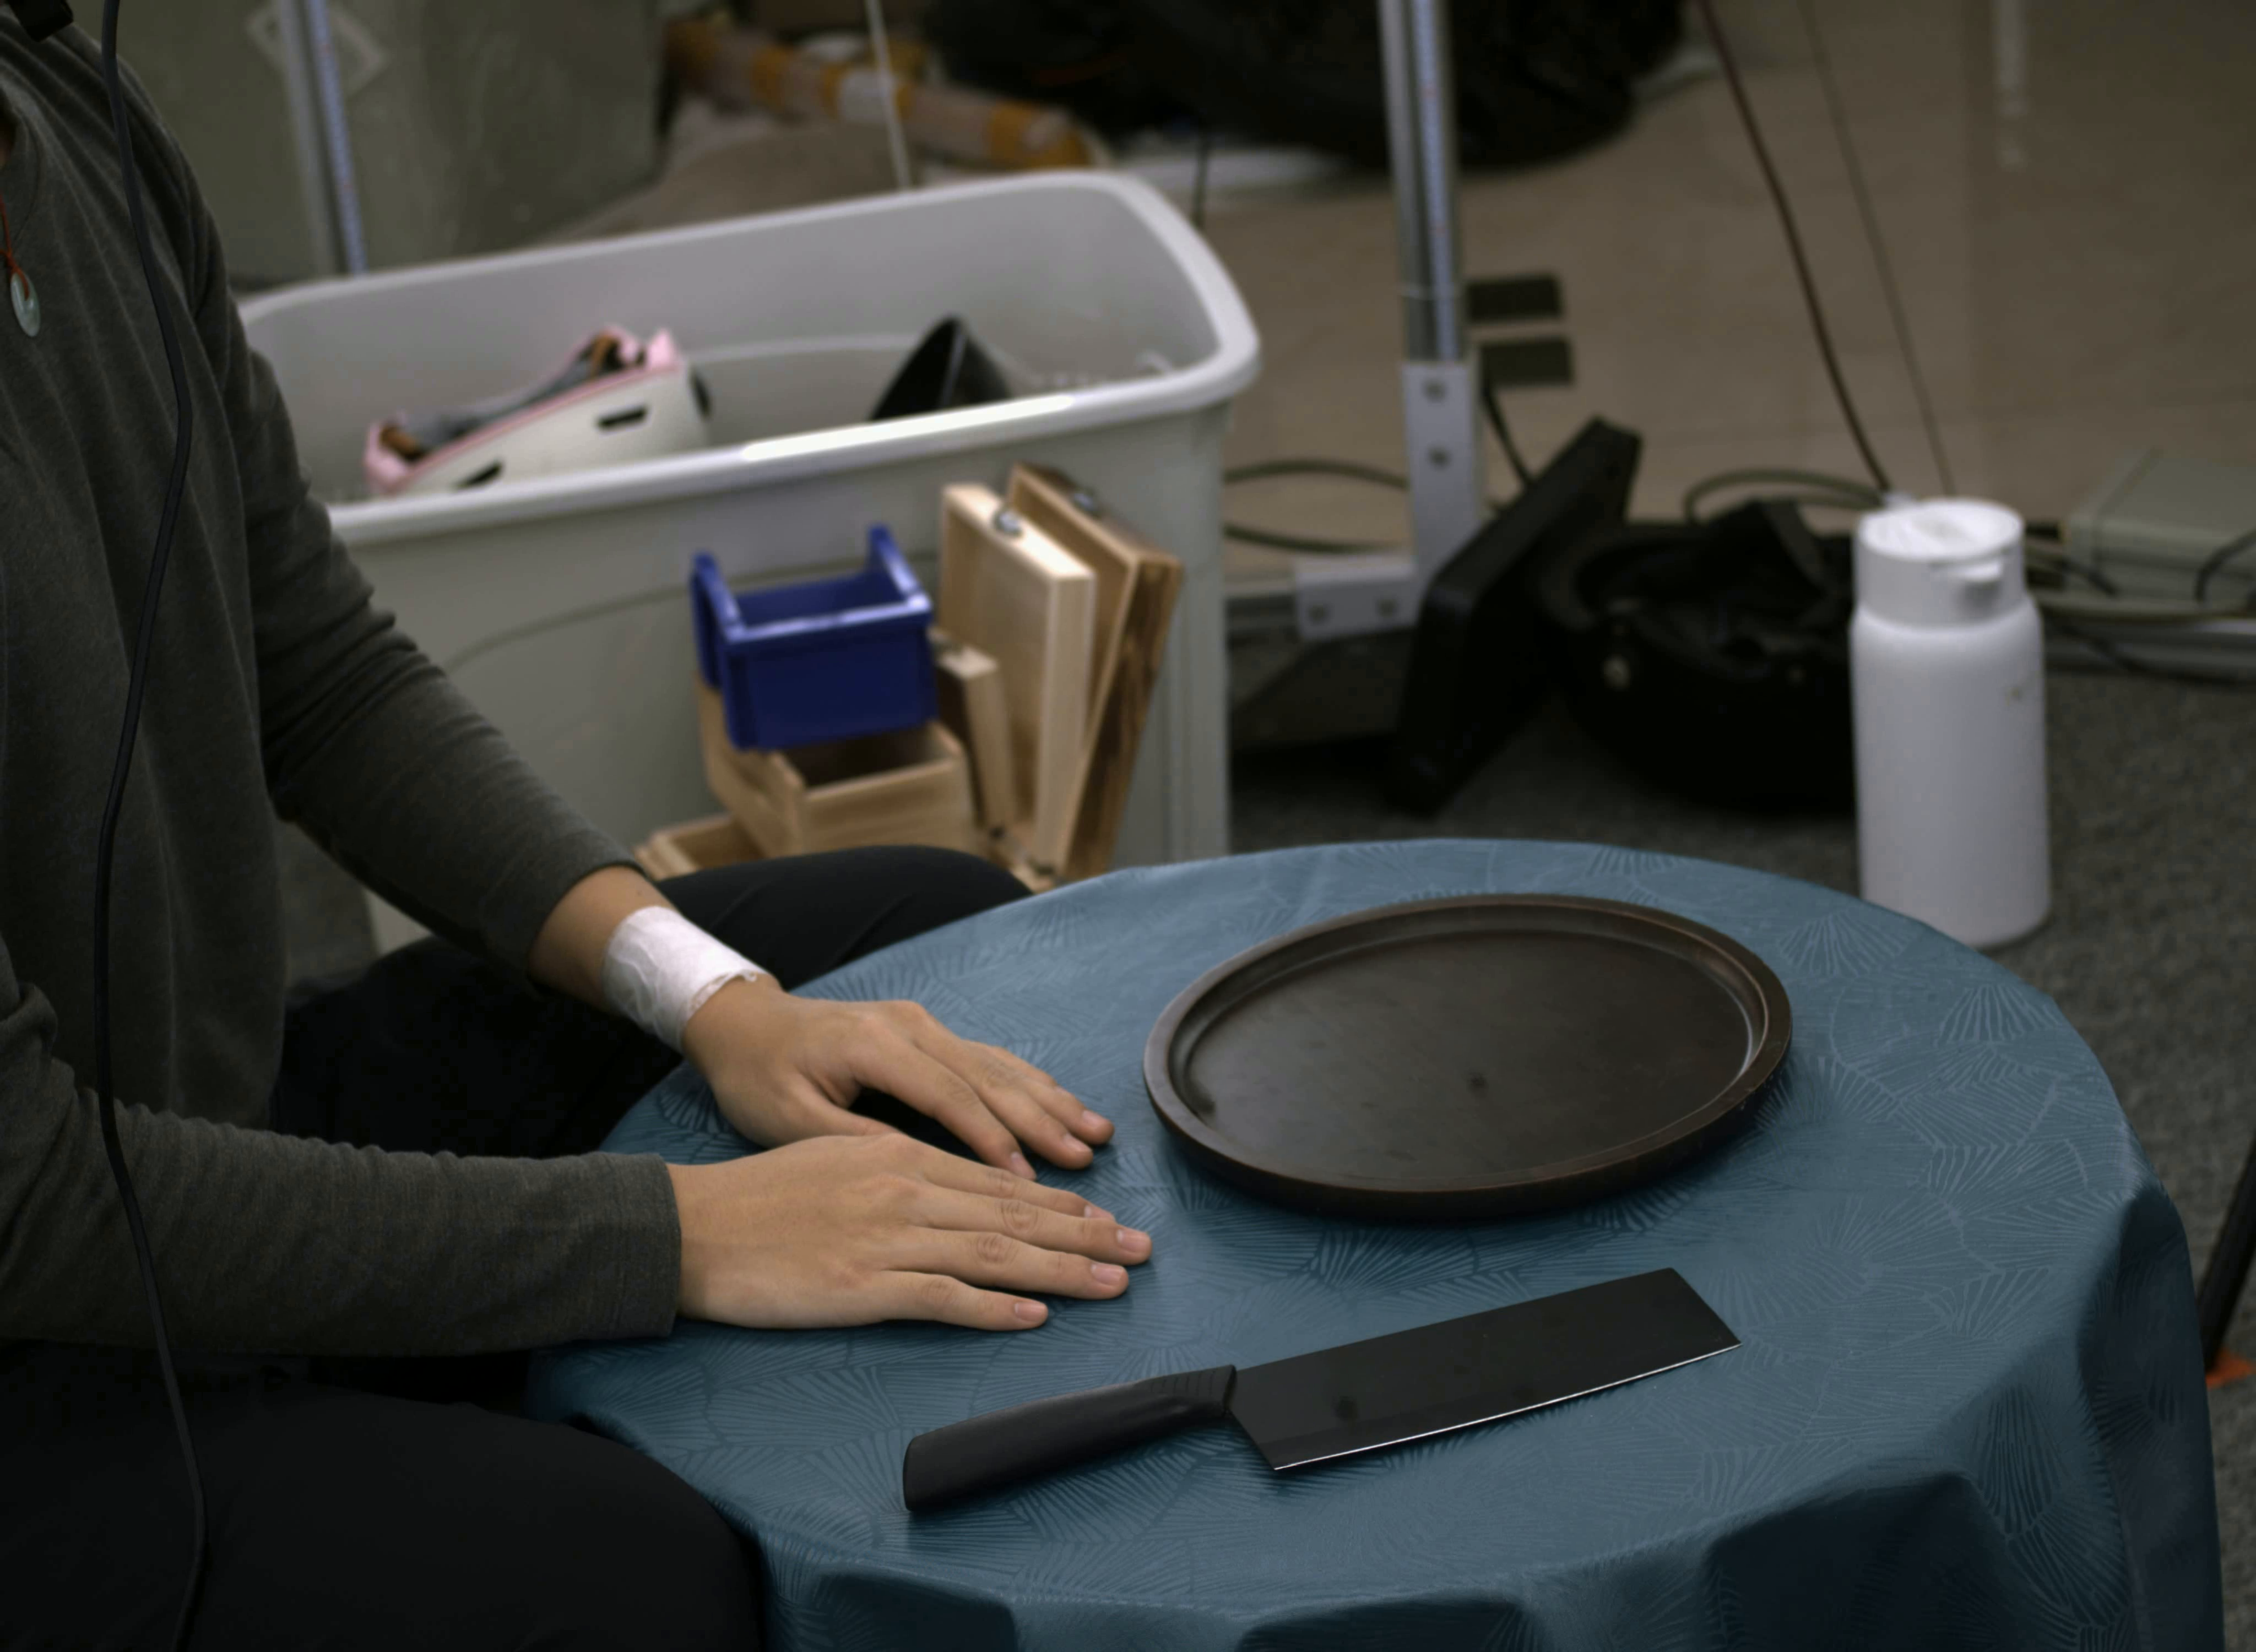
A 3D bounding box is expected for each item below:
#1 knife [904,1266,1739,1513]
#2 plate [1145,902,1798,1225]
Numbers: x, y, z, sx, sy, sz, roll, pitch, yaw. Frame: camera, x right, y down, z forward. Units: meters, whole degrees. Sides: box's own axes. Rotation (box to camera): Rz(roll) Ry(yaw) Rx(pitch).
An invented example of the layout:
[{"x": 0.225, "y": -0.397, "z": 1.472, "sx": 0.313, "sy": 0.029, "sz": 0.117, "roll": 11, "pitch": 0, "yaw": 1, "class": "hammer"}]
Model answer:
[{"x": 0.066, "y": 0.200, "z": 1.988, "sx": 0.301, "sy": 0.021, "sz": 0.080, "roll": -10, "pitch": 26, "yaw": -12, "class": "knife"}, {"x": 0.132, "y": 0.090, "z": 2.197, "sx": 0.254, "sy": 0.029, "sz": 0.251, "roll": -5, "pitch": 25, "yaw": 2, "class": "plate"}]
